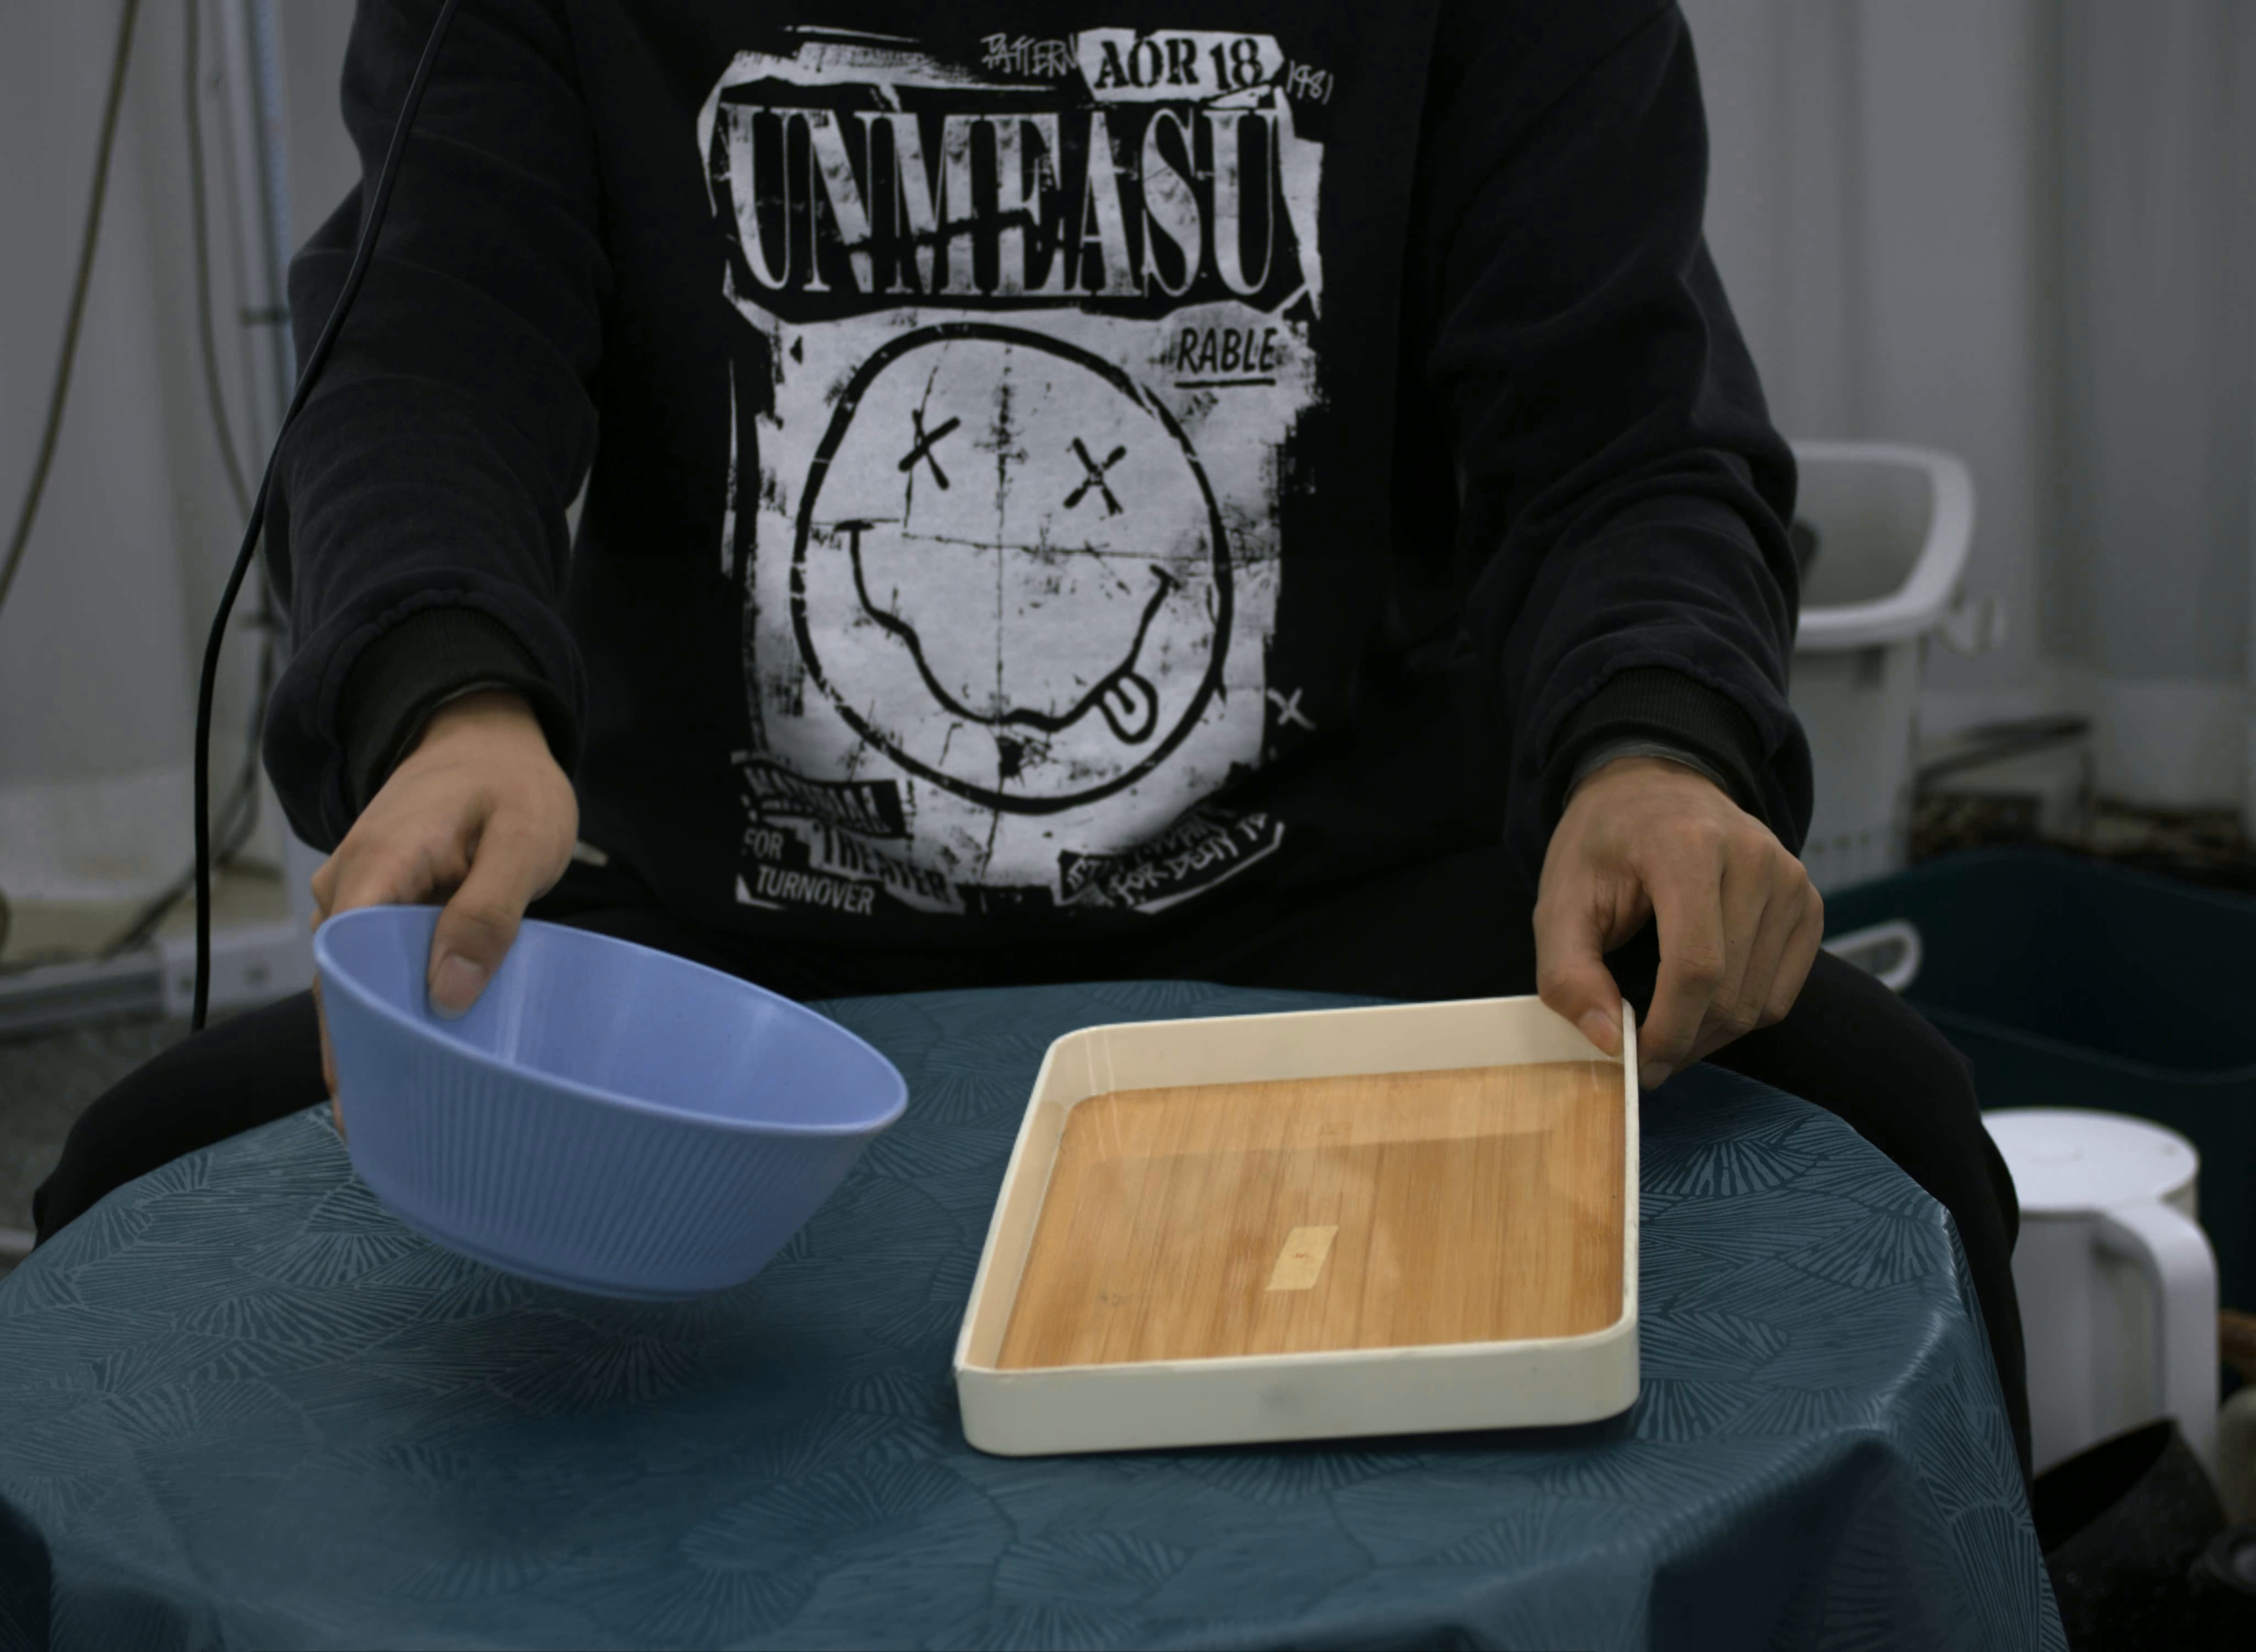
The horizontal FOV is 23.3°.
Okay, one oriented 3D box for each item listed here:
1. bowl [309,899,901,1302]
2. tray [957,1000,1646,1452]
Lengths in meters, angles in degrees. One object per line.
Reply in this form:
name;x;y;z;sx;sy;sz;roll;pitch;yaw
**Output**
bowl;-0.157;0.083;1.566;0.175;0.070;0.177;17;12;-4
tray;0.058;0.115;1.626;0.191;0.027;0.302;-3;16;6
